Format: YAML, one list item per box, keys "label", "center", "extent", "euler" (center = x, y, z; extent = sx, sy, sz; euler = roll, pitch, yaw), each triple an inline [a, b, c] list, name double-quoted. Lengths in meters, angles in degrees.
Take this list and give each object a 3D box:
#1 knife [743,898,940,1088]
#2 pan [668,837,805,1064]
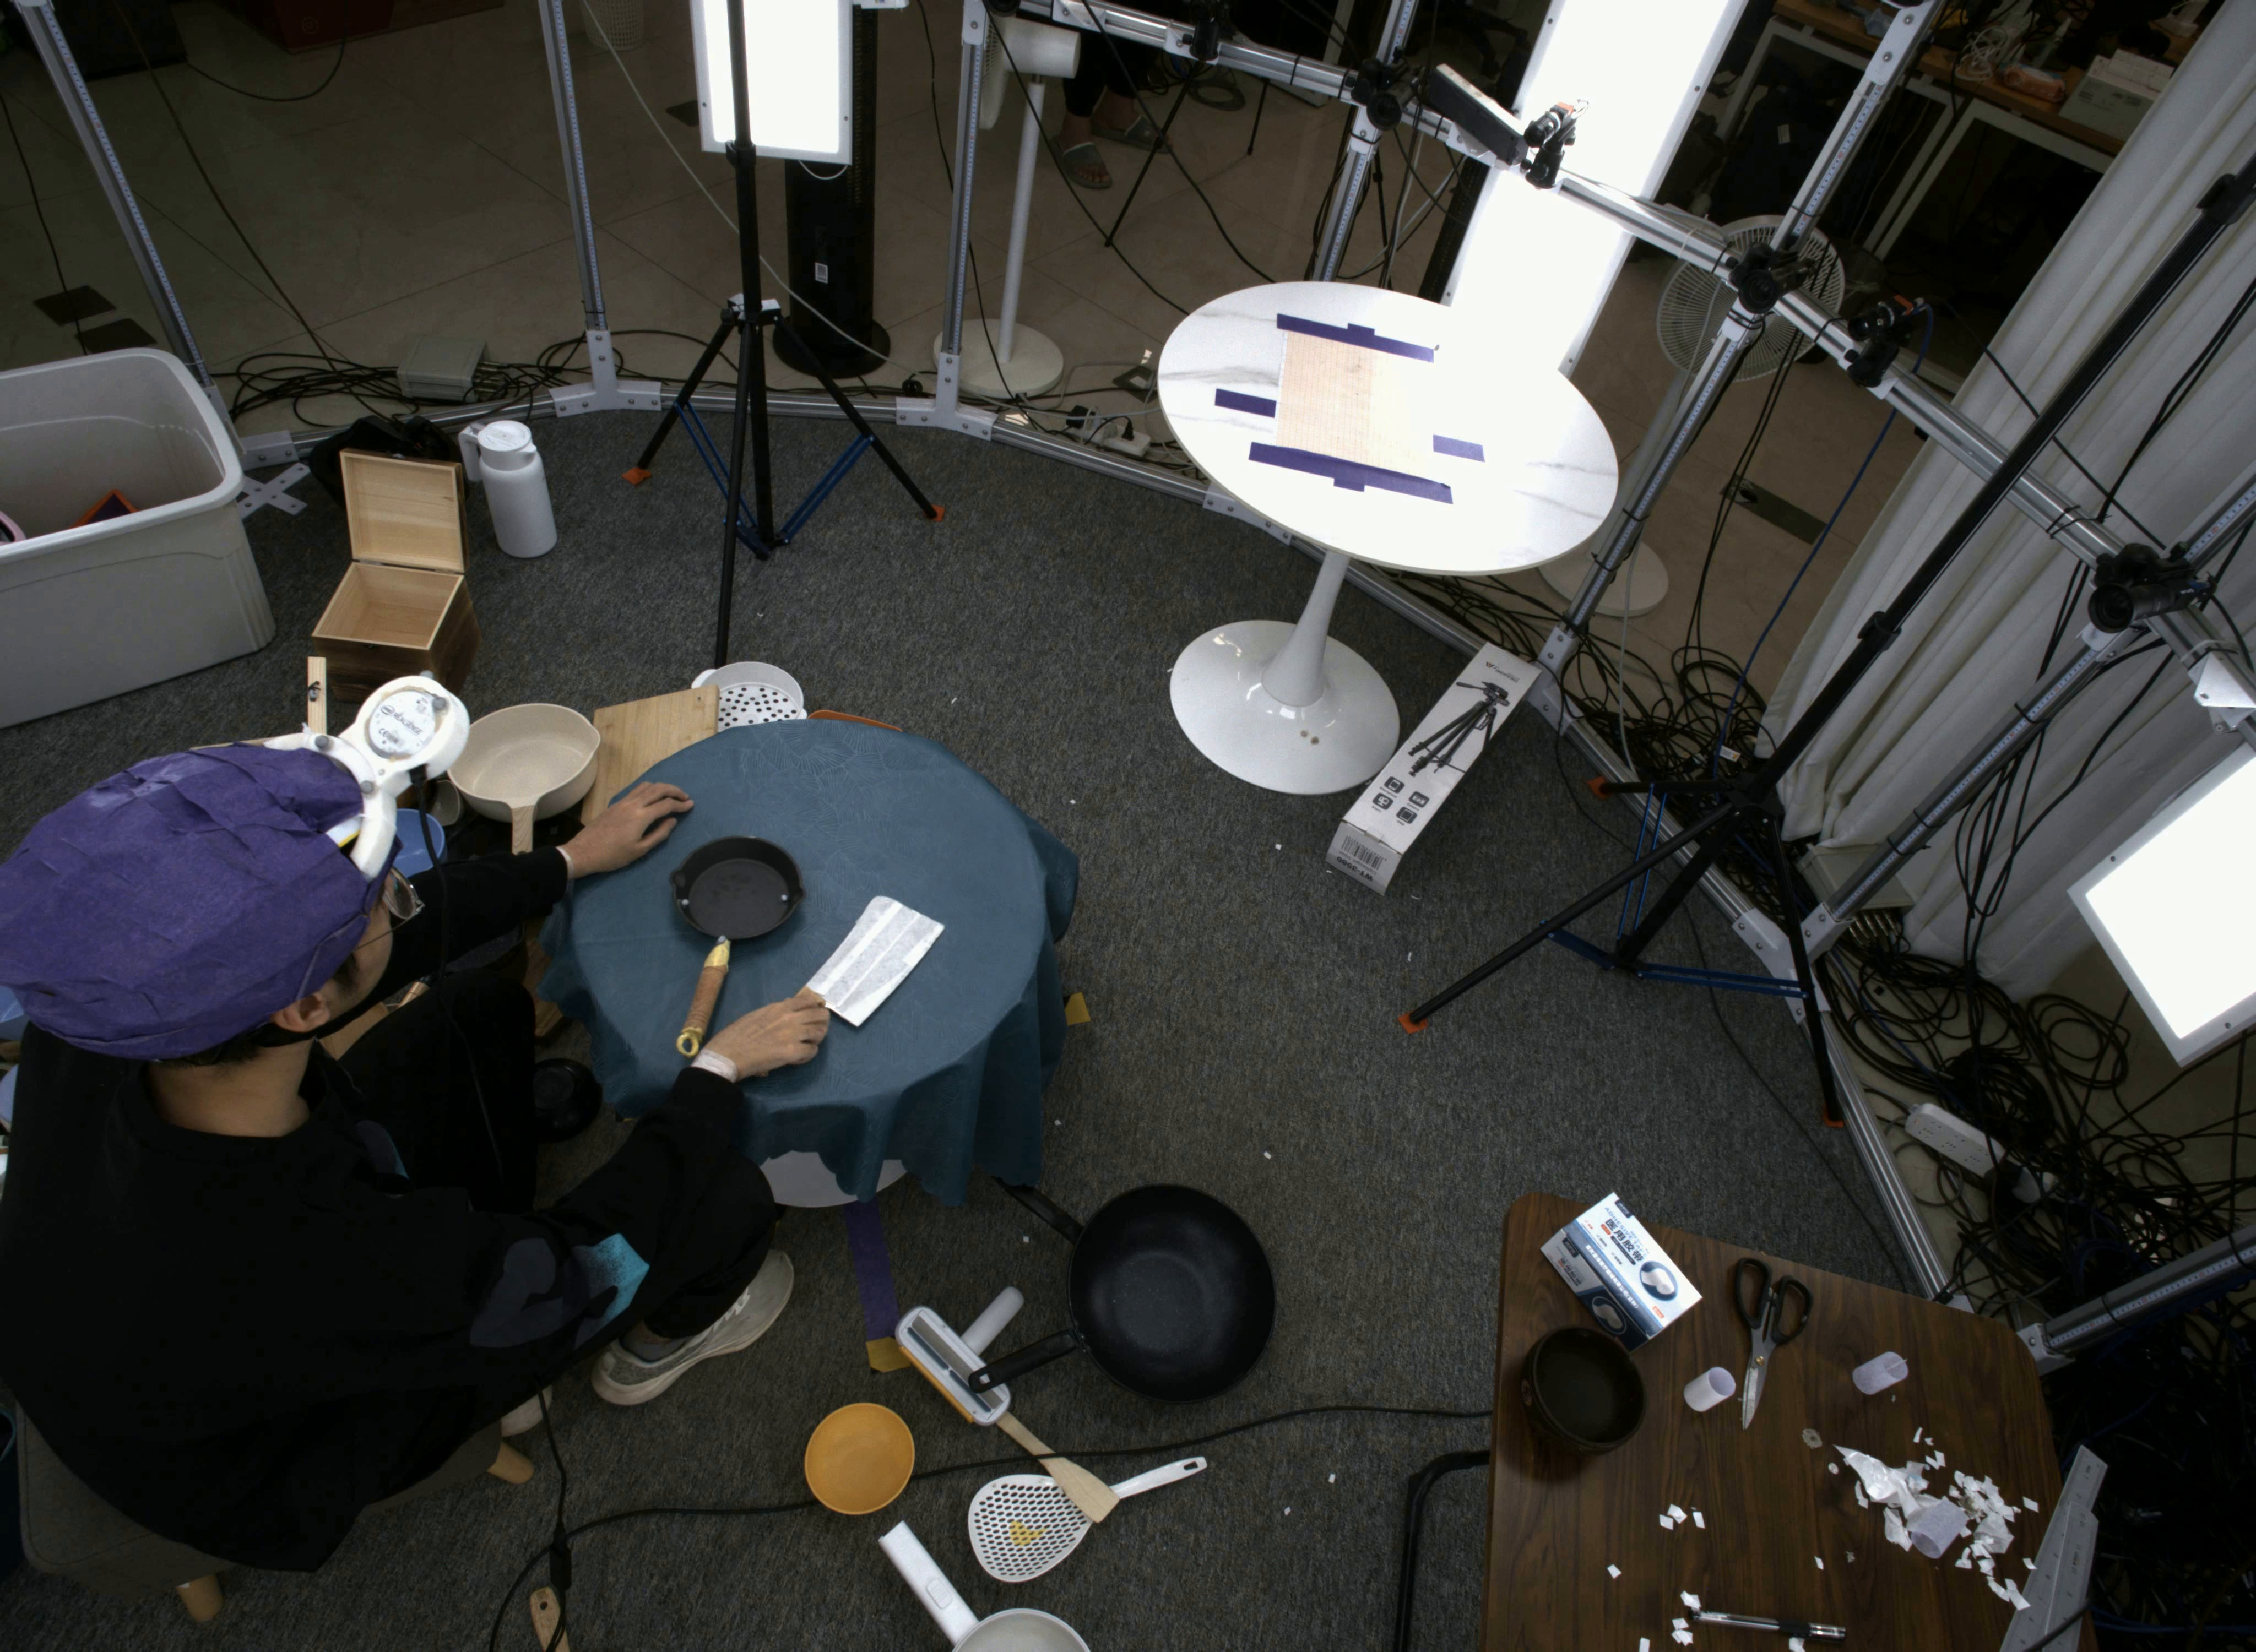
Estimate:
- label: "knife"
  center: [-0.351, 0.195, 1.575]
  extent: [0.112, 0.022, 0.314]
  euler: [33, 50, 10]
- label: "pan"
  center: [-0.491, 0.144, 1.555]
  extent: [0.168, 0.050, 0.318]
  euler: [10, 51, -8]
